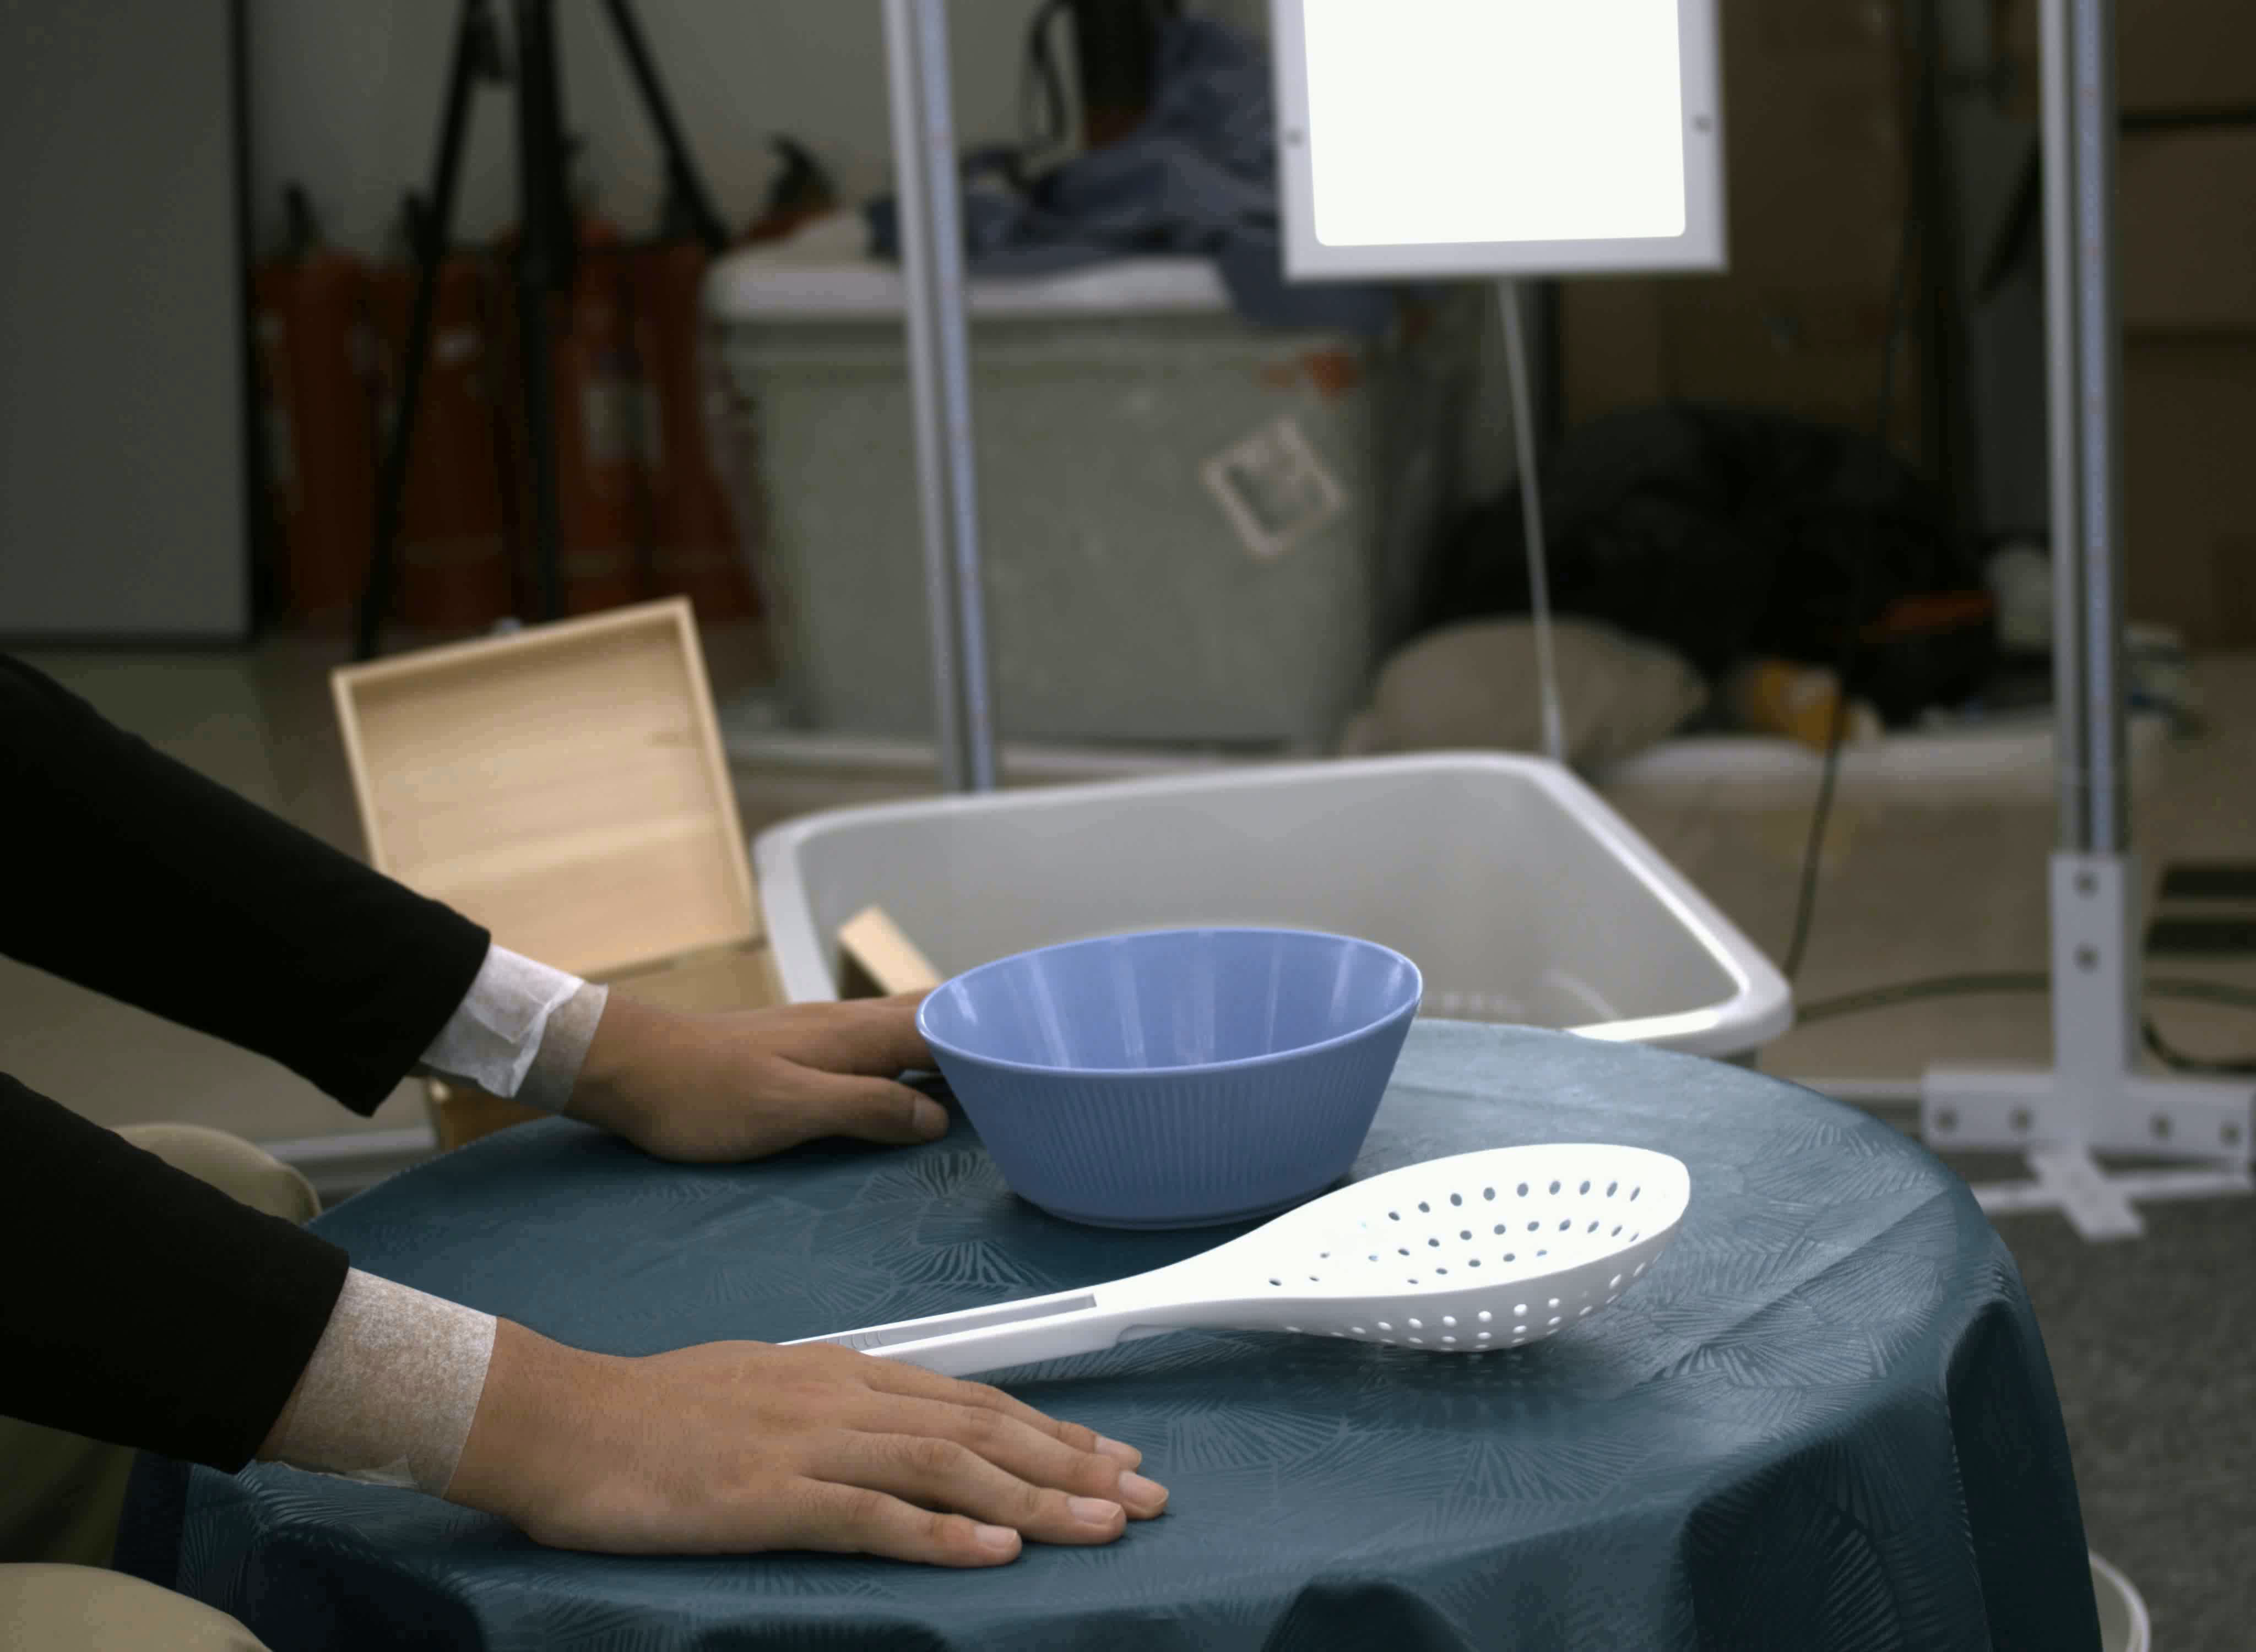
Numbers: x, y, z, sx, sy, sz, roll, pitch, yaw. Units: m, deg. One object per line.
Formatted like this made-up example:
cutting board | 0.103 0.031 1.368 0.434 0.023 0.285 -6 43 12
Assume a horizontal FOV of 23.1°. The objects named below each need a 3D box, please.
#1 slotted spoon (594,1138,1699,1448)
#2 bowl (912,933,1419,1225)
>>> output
slotted spoon | 0.007 0.149 1.710 0.348 0.046 0.136 -7 14 -3
bowl | 0.016 0.089 1.897 0.175 0.070 0.176 -6 13 0
